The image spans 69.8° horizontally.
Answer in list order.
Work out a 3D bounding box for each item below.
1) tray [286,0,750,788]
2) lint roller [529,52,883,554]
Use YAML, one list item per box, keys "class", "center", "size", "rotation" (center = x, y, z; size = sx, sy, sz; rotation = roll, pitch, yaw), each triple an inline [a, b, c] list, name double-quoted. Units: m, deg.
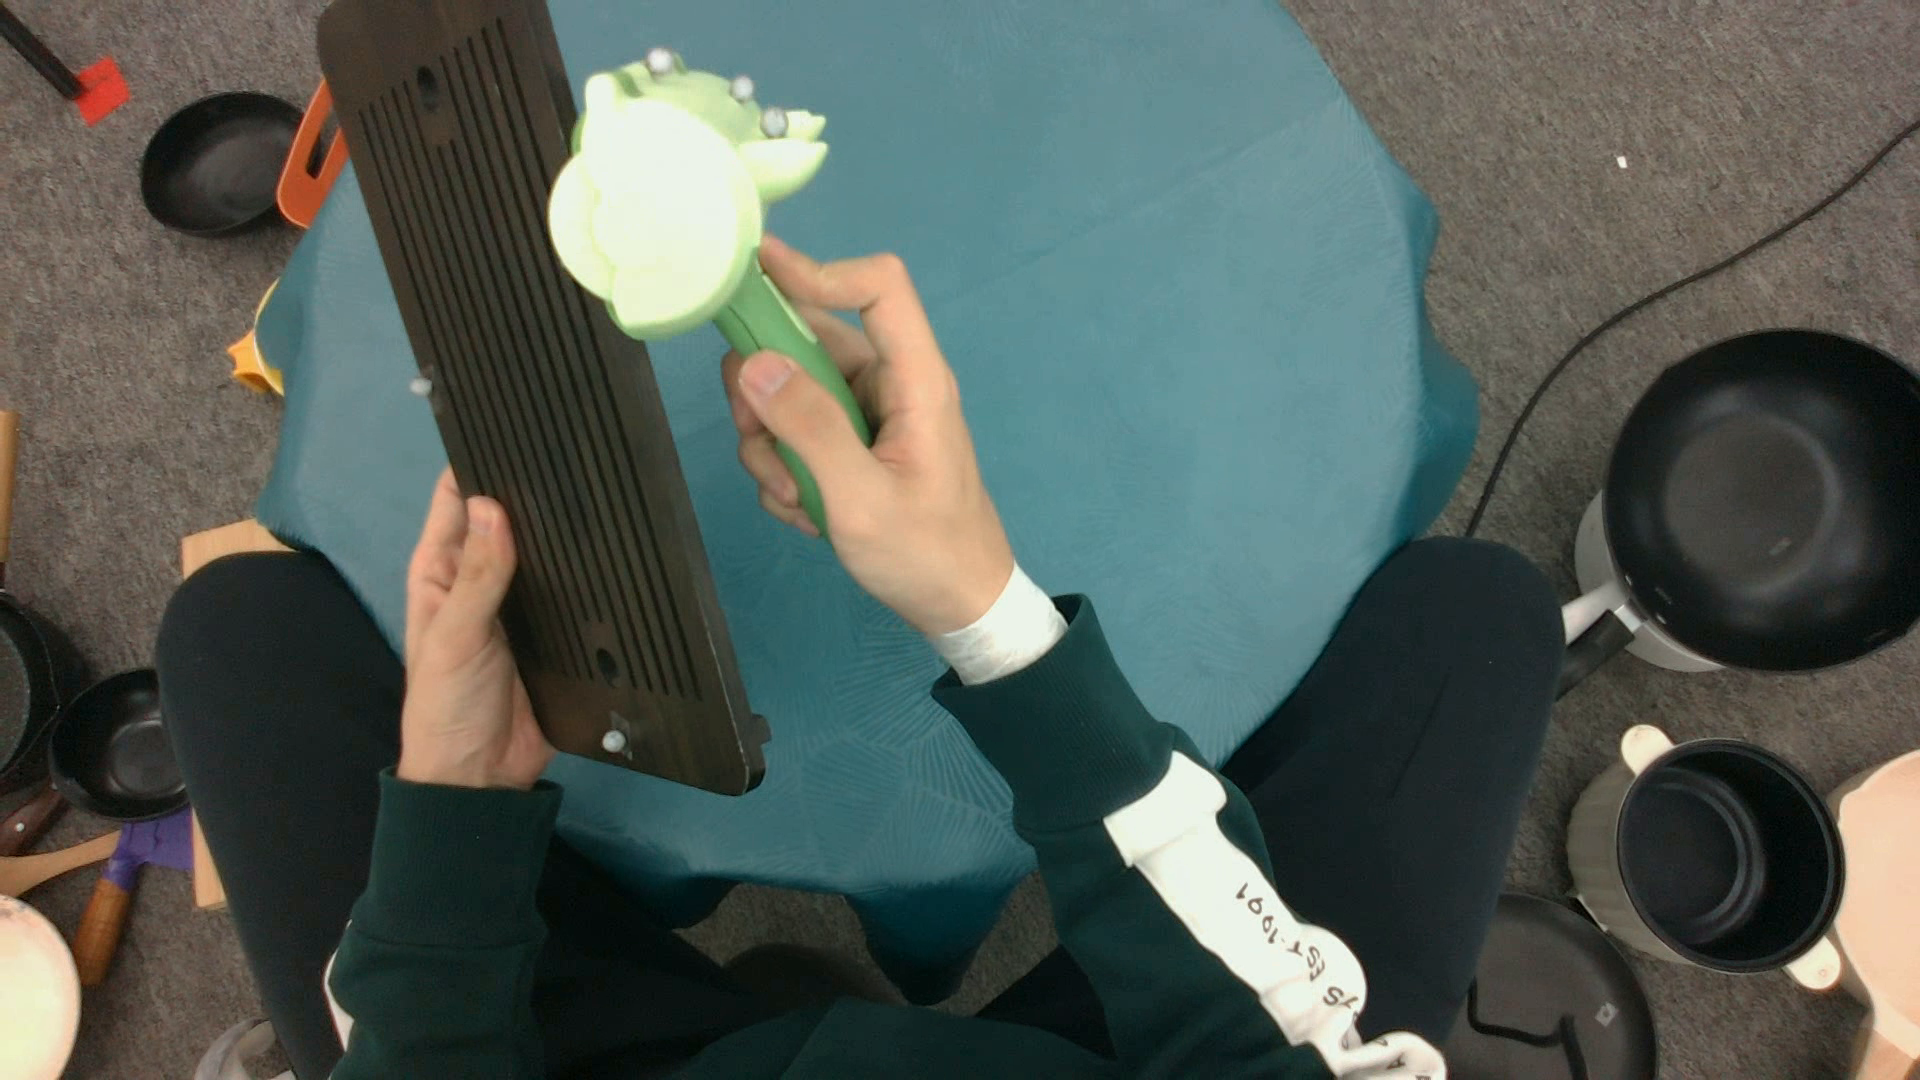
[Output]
- class: "tray"
  center: [-0.165, -0.057, 0.510]
  size: [0.019, 0.169, 0.305]
  rotation: [-26, 106, -40]
- class: "lint roller"
  center: [-0.060, -0.082, 0.465]
  size: [0.082, 0.199, 0.183]
  rotation: [-36, 110, 7]
